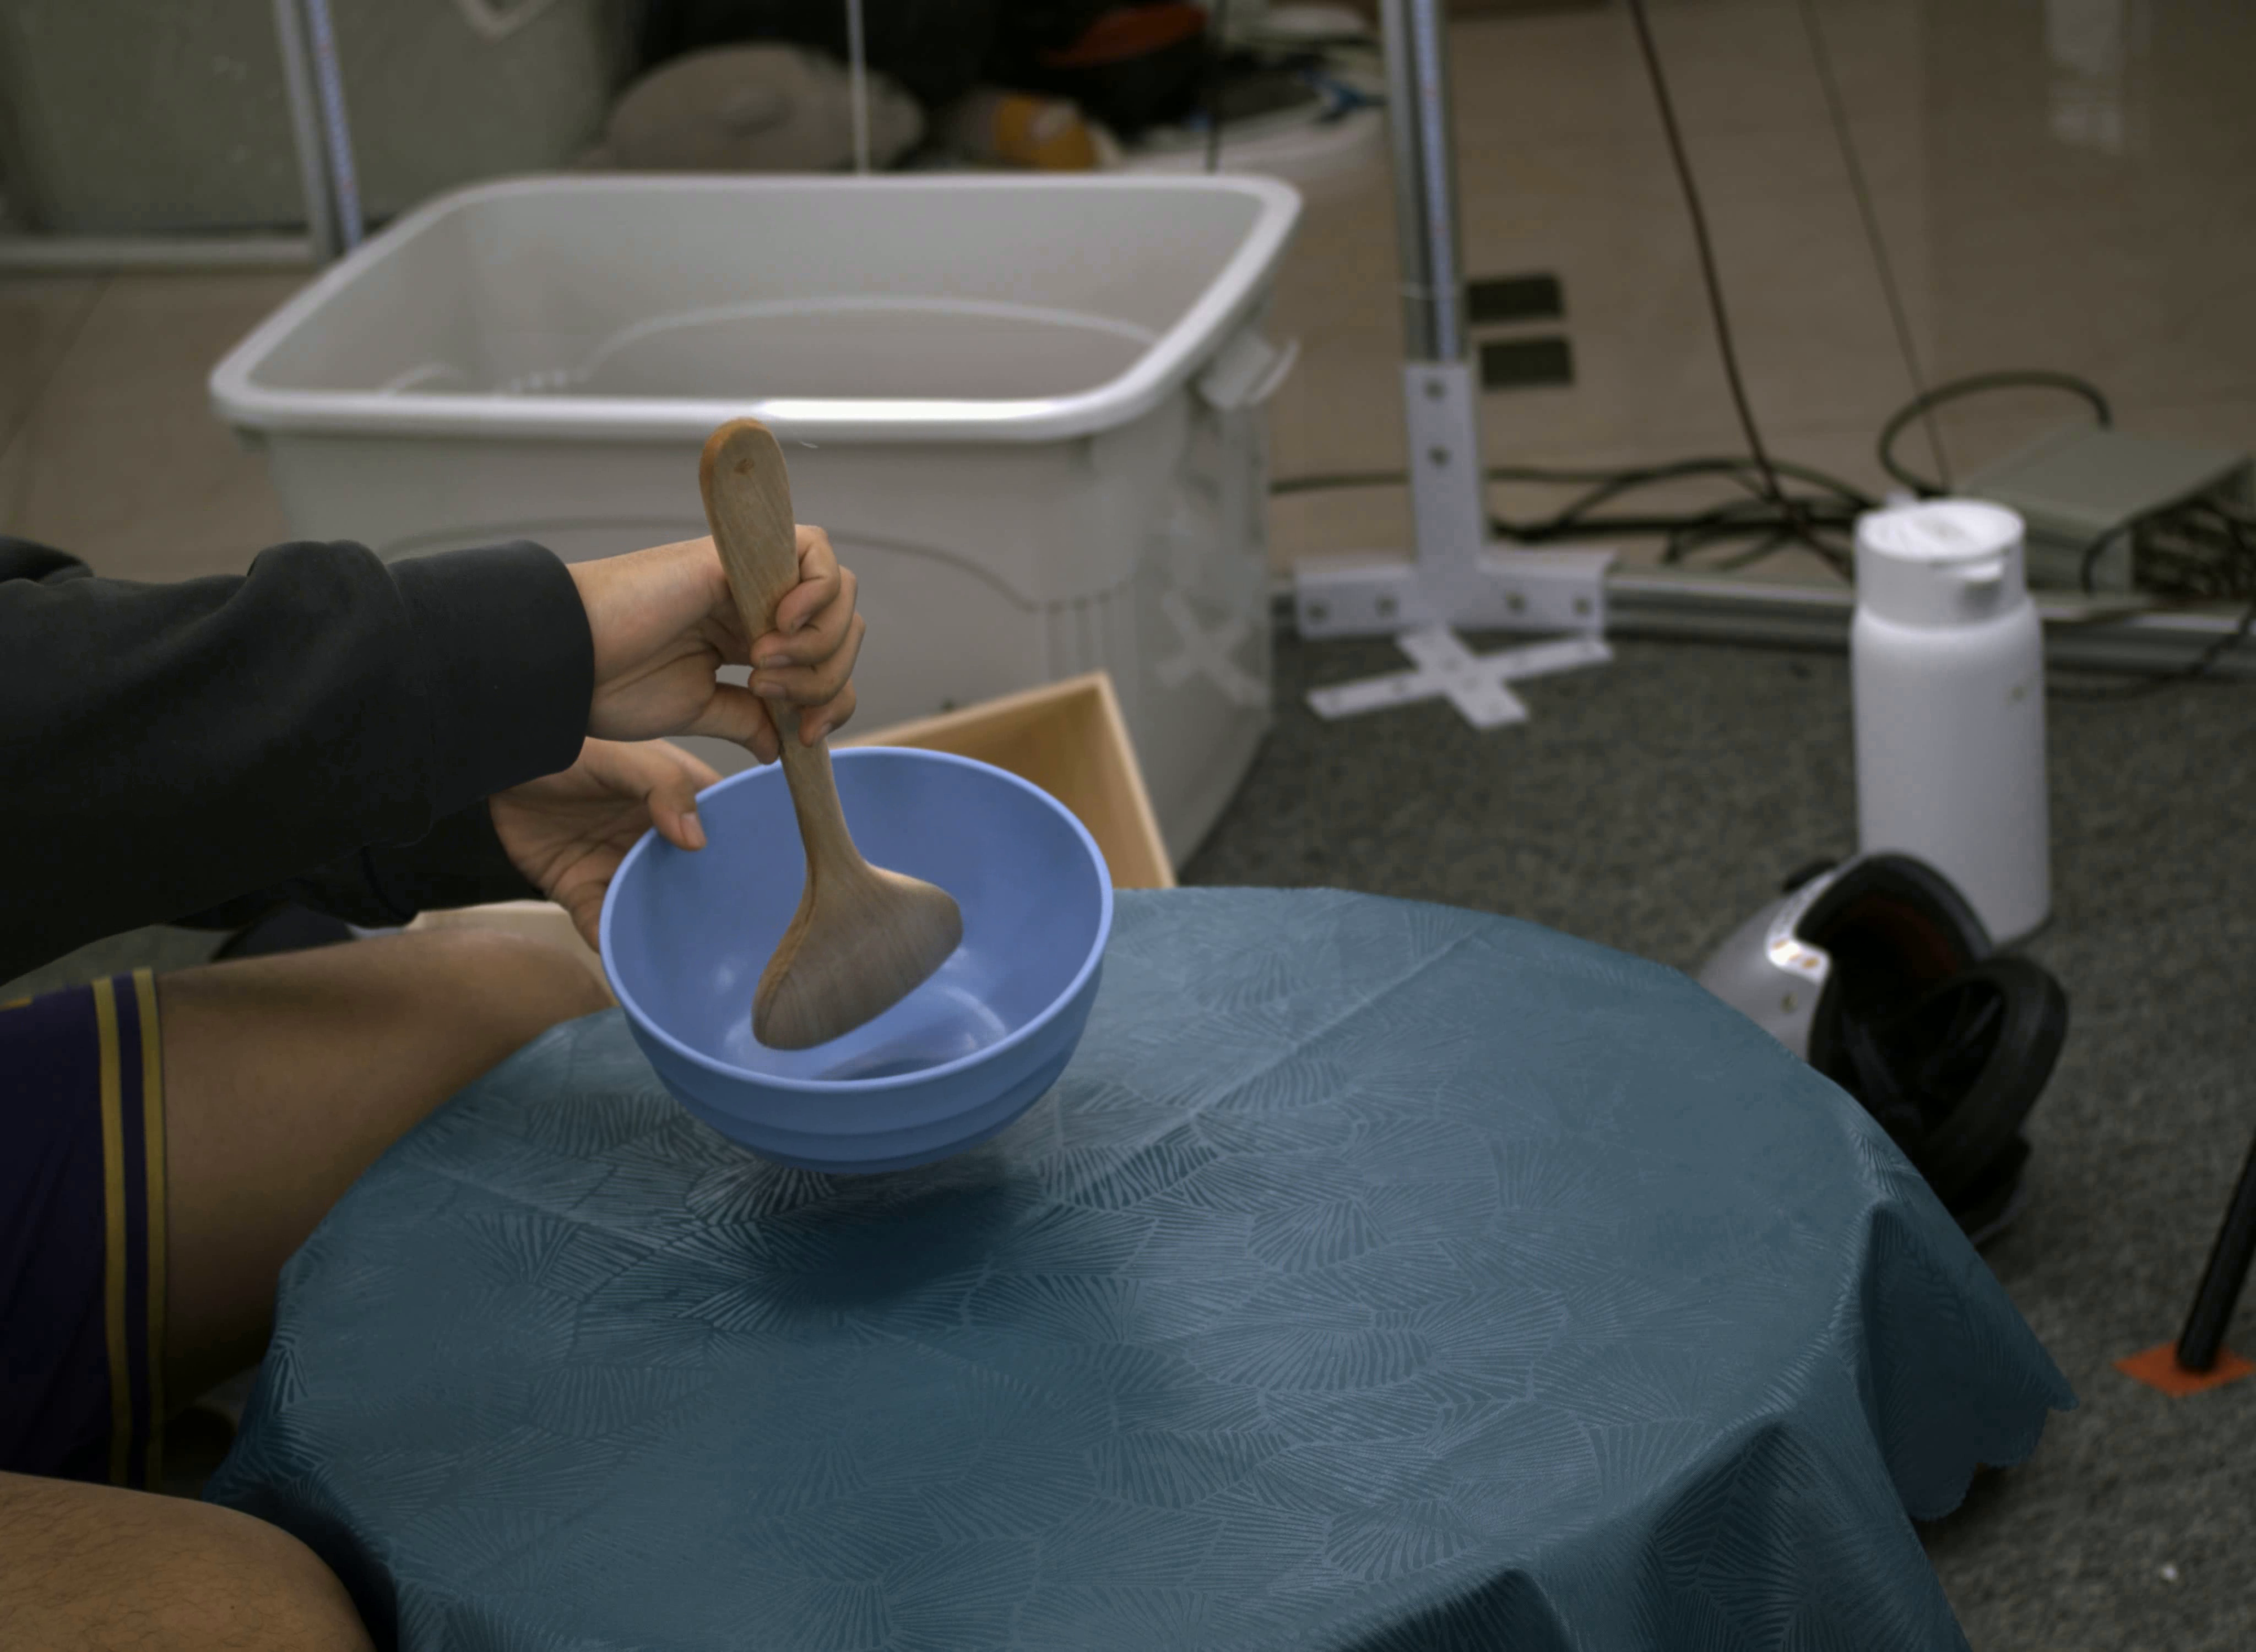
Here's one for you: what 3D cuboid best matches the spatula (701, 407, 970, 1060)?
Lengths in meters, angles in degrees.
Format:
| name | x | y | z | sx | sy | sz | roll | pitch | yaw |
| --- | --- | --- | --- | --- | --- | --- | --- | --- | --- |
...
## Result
| name | x | y | z | sx | sy | sz | roll | pitch | yaw |
| --- | --- | --- | --- | --- | --- | --- | --- | --- | --- |
| spatula | -0.112 | -0.031 | 2.036 | 0.095 | 0.398 | 0.018 | -33 | 59 | -15 |

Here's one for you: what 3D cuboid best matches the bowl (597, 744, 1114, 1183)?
| name | x | y | z | sx | sy | sz | roll | pitch | yaw |
| --- | --- | --- | --- | --- | --- | --- | --- | --- | --- |
| bowl | -0.102 | 0.068 | 2.178 | 0.196 | 0.097 | 0.193 | -1 | 44 | 1 |
